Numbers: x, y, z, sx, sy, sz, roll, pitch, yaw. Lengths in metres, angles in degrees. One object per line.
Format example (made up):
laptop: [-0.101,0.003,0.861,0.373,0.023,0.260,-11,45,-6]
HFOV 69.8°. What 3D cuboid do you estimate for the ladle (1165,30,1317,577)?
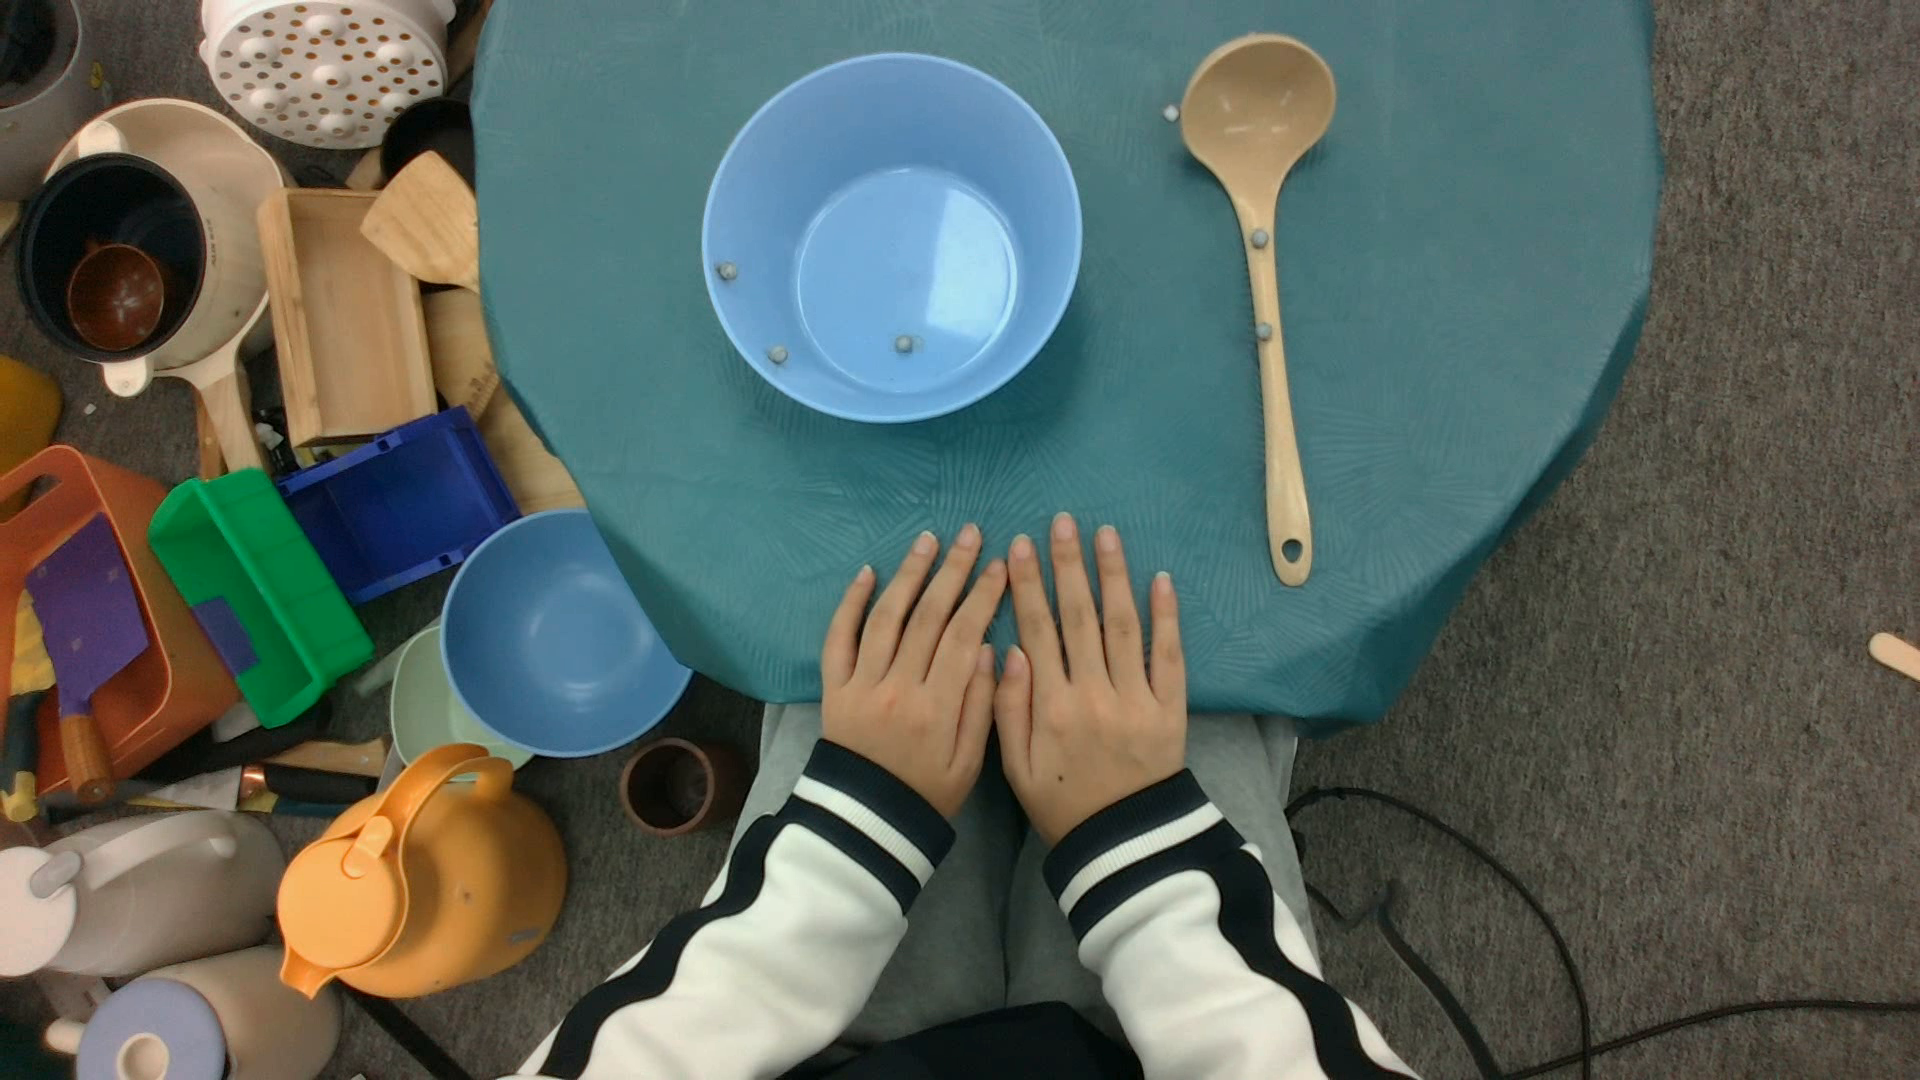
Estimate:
ladle: [0.145,-0.112,0.643,0.072,0.073,0.255,-7,80,4]

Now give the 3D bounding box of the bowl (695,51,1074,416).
bowl: [-0.033,-0.138,0.662,0.176,0.070,0.176,-1,80,5]
